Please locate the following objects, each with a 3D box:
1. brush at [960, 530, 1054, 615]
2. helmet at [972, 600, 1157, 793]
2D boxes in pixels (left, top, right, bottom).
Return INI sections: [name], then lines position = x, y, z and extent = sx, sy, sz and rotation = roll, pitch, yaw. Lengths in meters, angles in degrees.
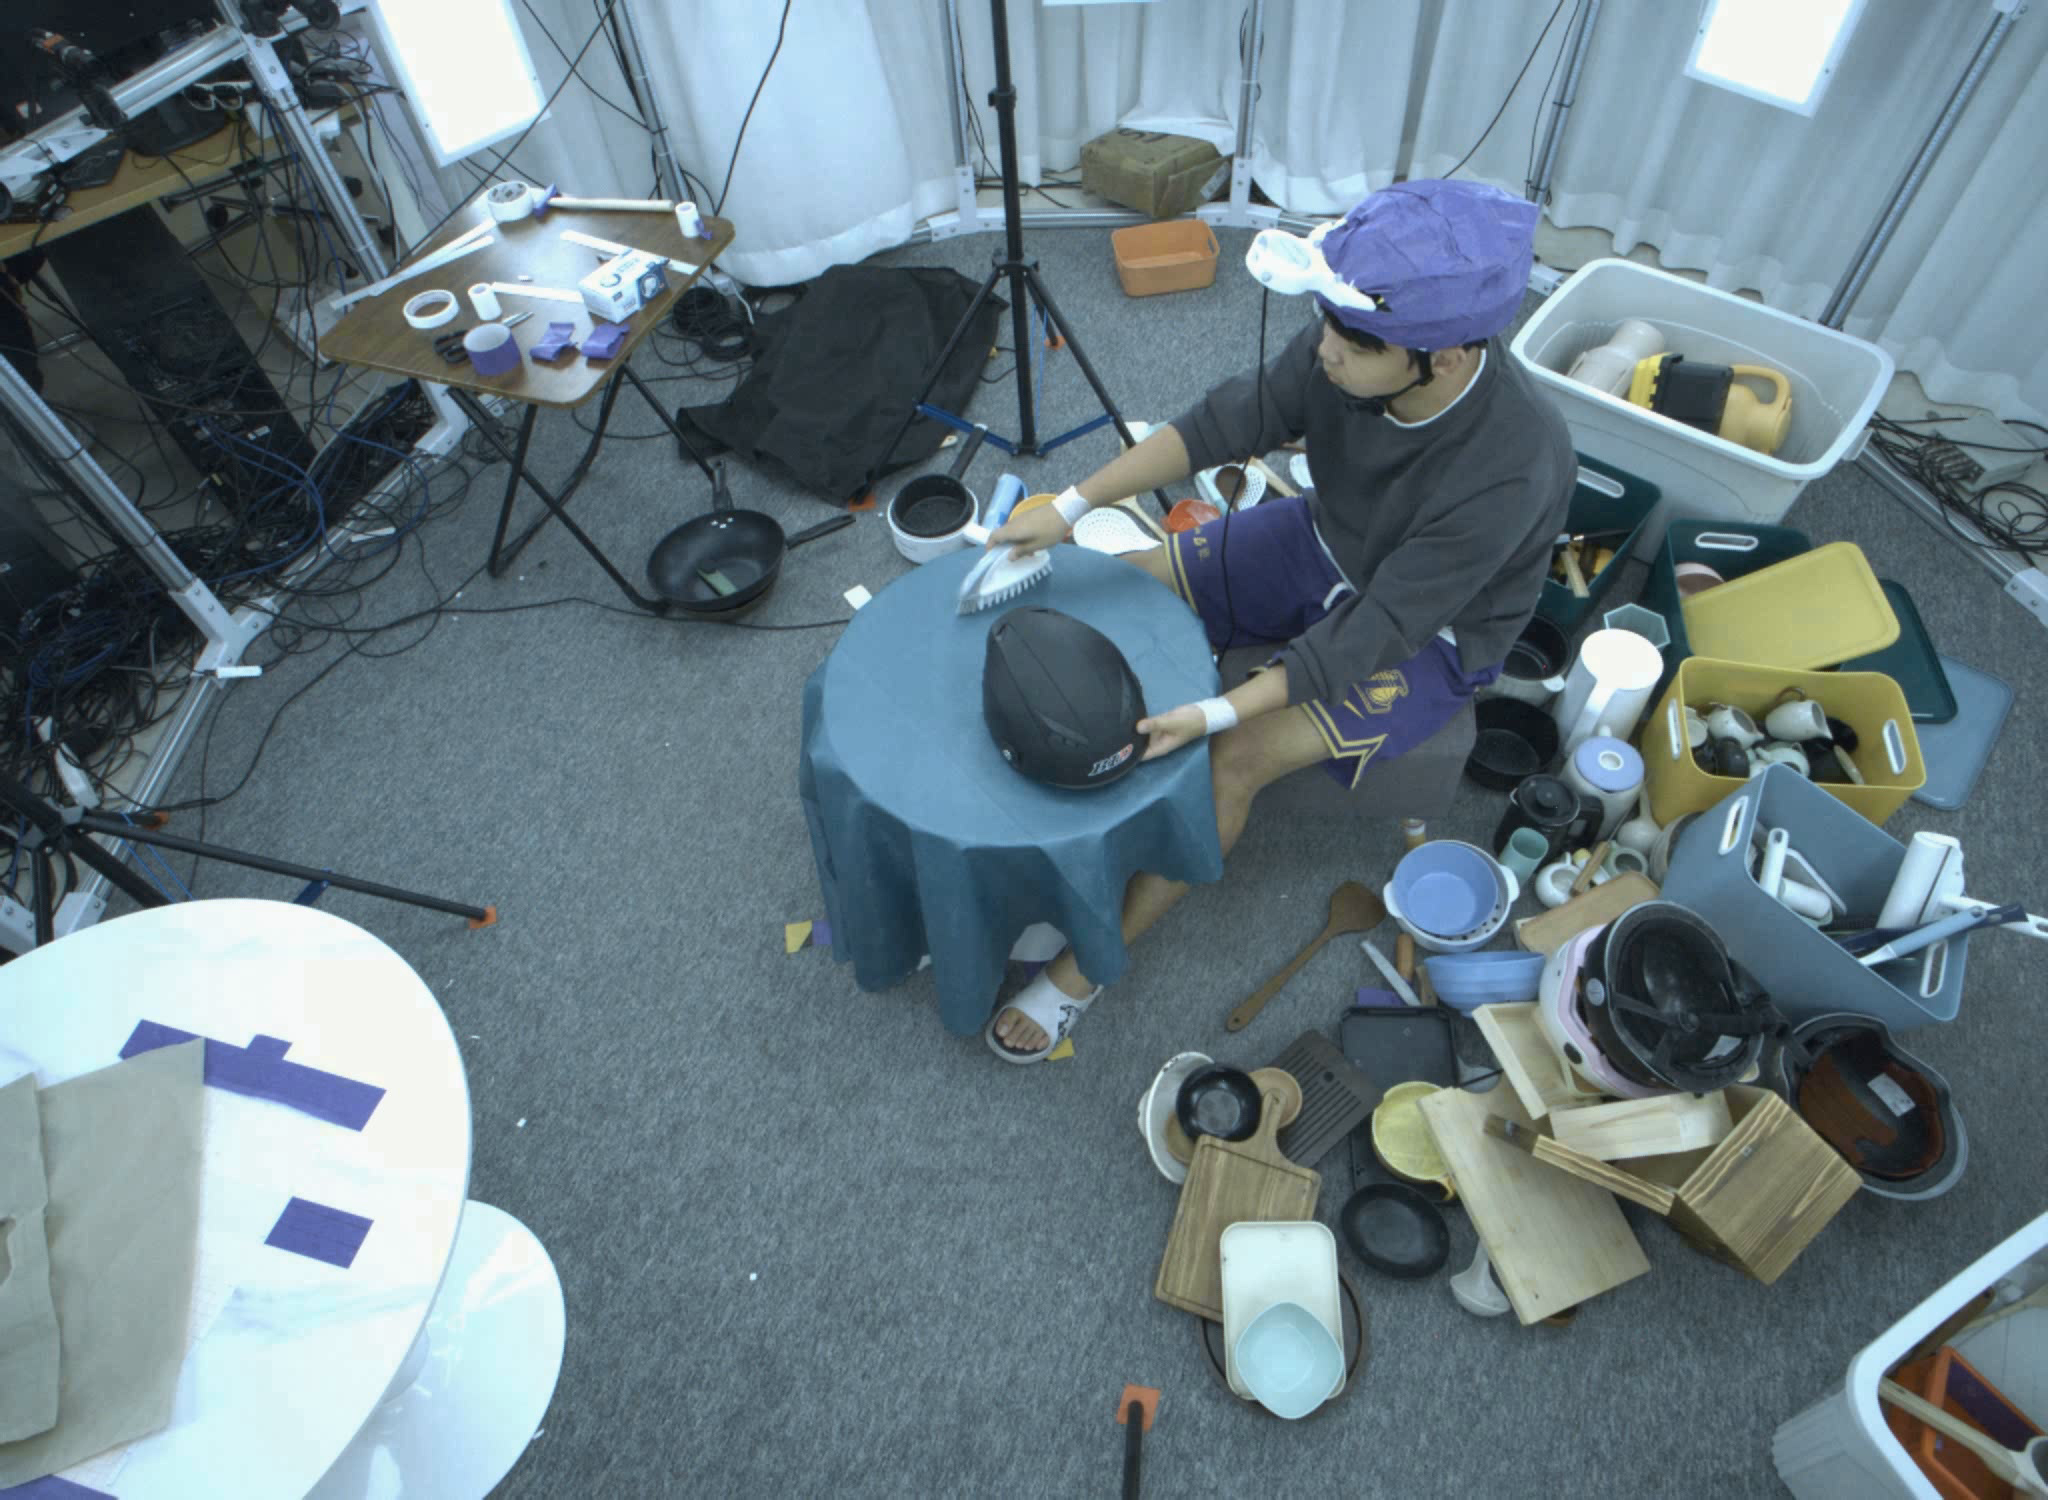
[brush]
position = -0.035, -0.286, 1.938
extent = 0.177, 0.095, 0.060
rotation = -35, 58, -18
[helmet]
position = 0.051, -0.085, 1.751
extent = 0.248, 0.174, 0.271
rotation = -27, 53, -15
